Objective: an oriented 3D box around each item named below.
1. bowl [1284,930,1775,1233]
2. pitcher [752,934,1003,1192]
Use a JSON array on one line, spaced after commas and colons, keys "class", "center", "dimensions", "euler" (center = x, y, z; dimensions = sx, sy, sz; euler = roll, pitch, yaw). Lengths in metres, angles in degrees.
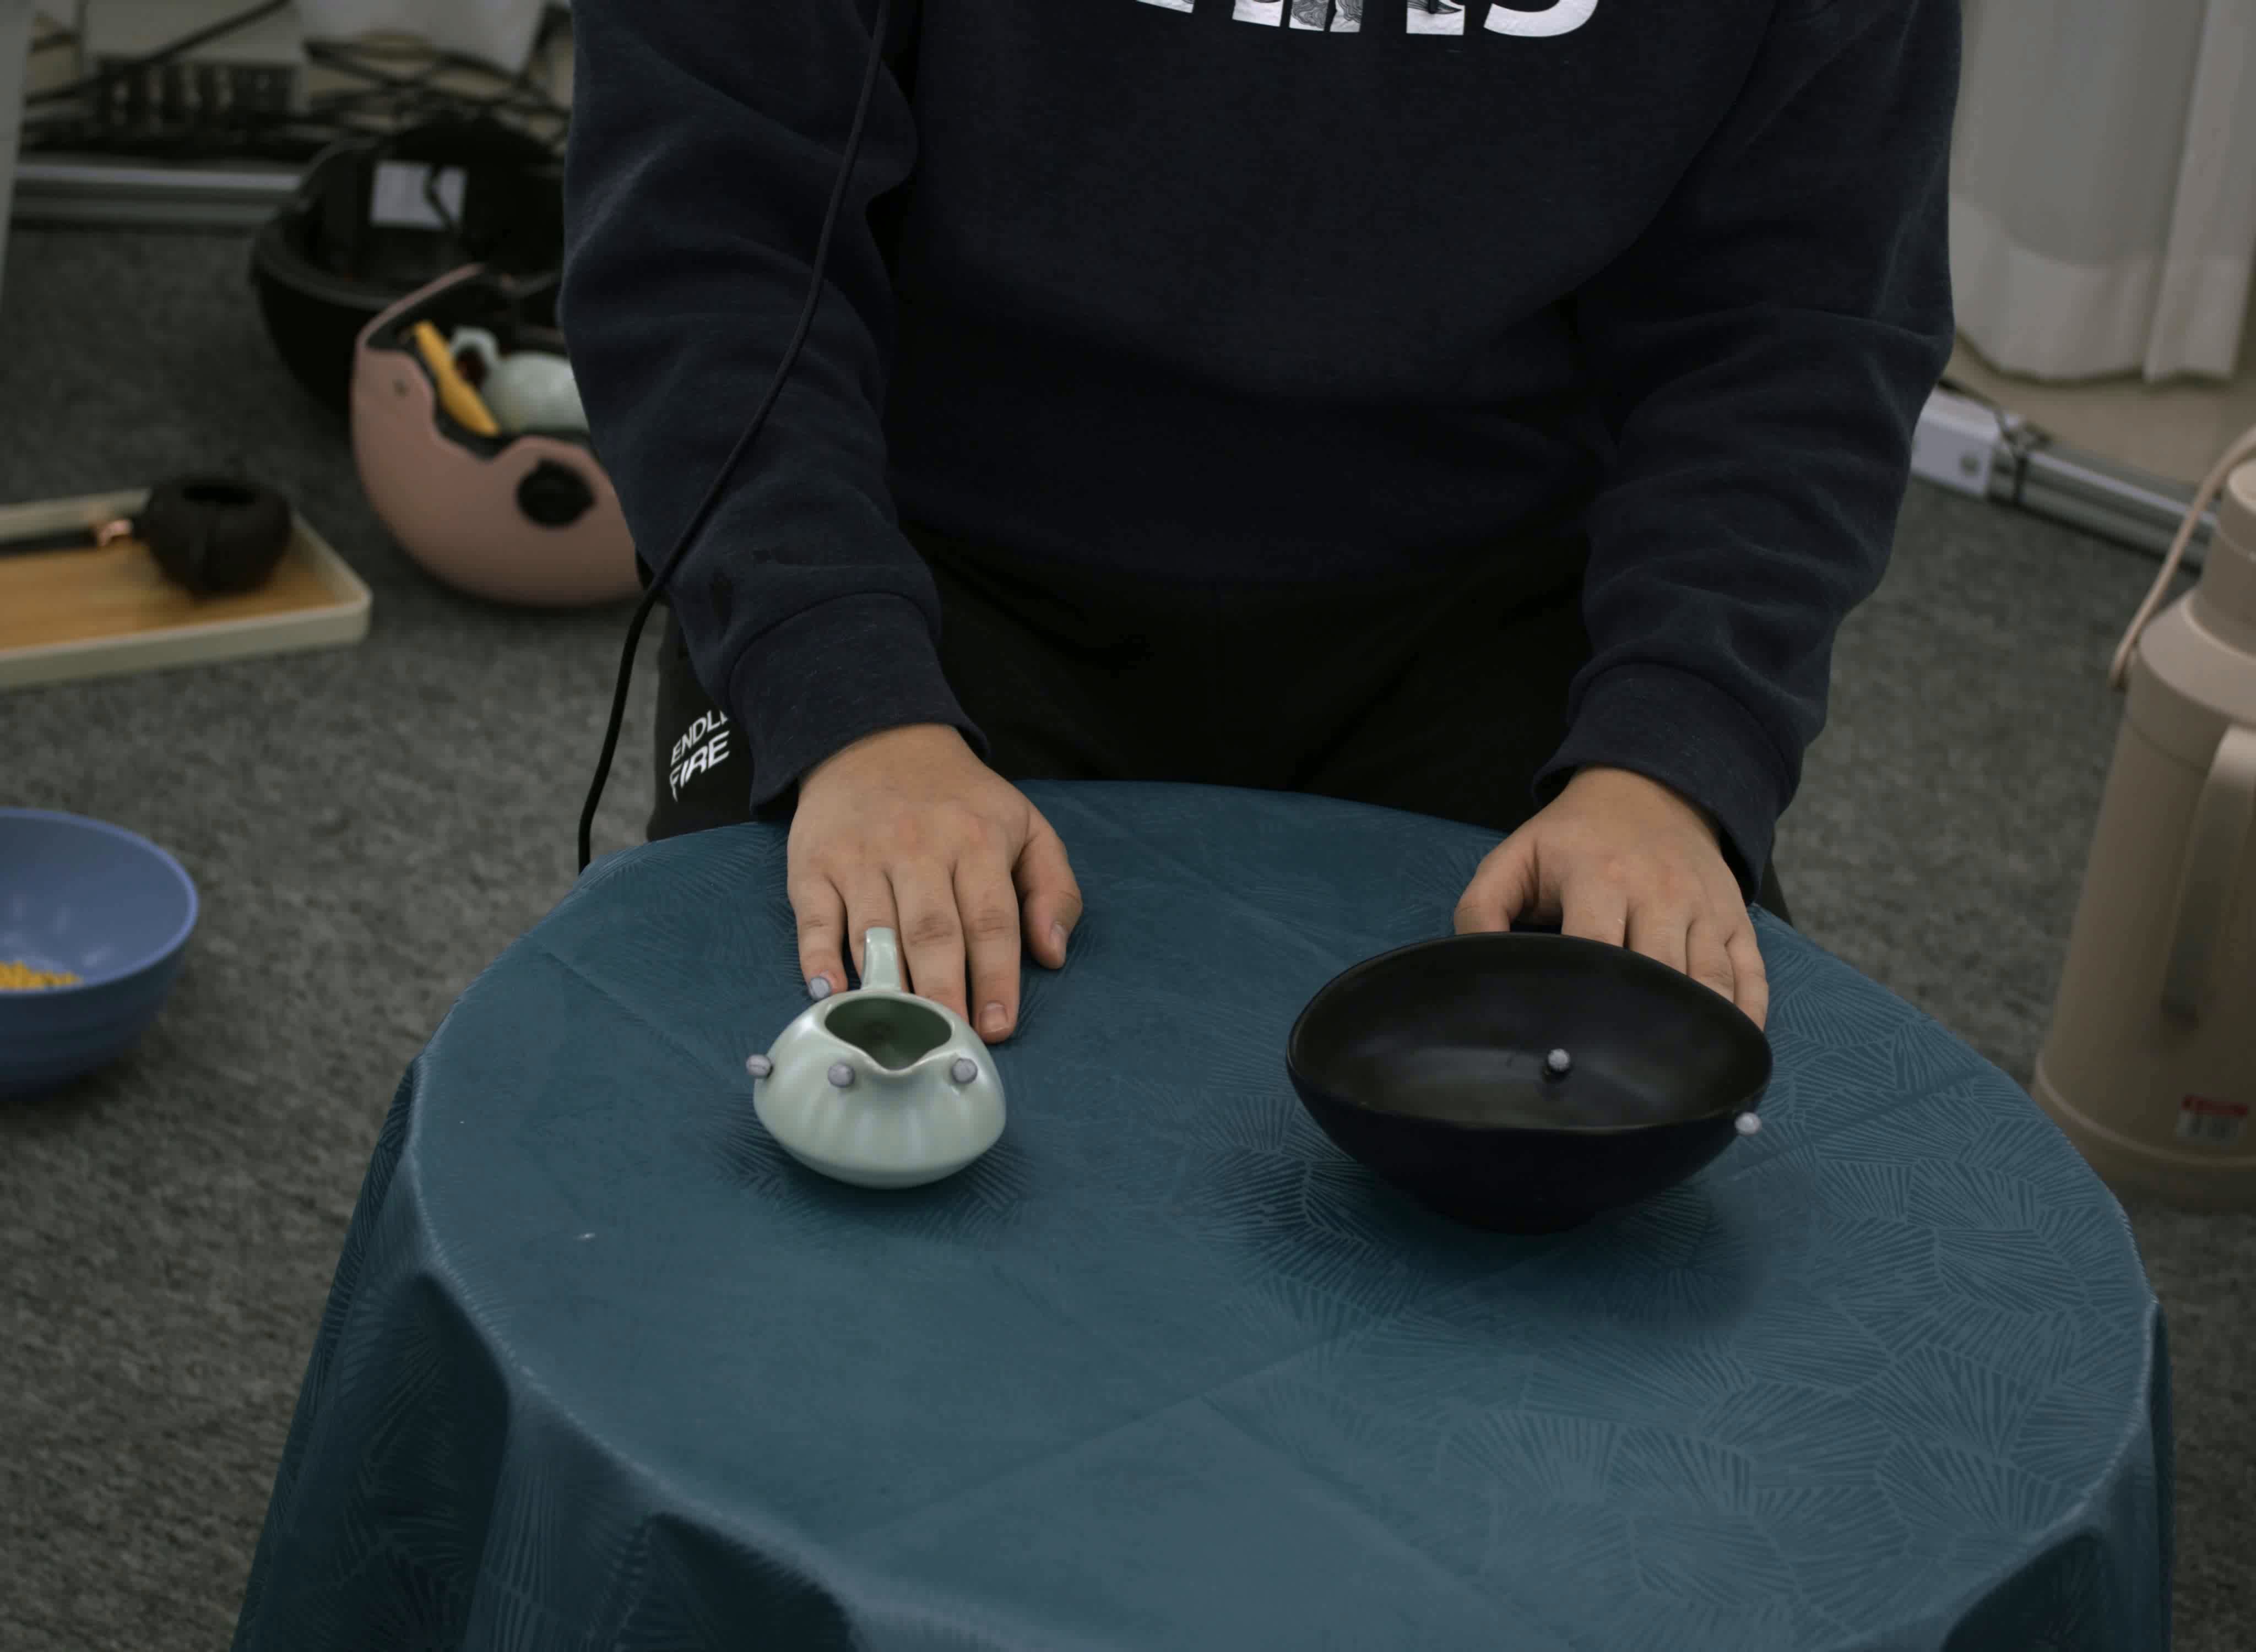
[{"class": "bowl", "center": [0.136, 0.097, 1.823], "dimensions": [0.169, 0.066, 0.138], "euler": [-2, 27, -15]}, {"class": "pitcher", "center": [-0.085, 0.082, 1.807], "dimensions": [0.085, 0.060, 0.109], "euler": [4, 25, -9]}]
